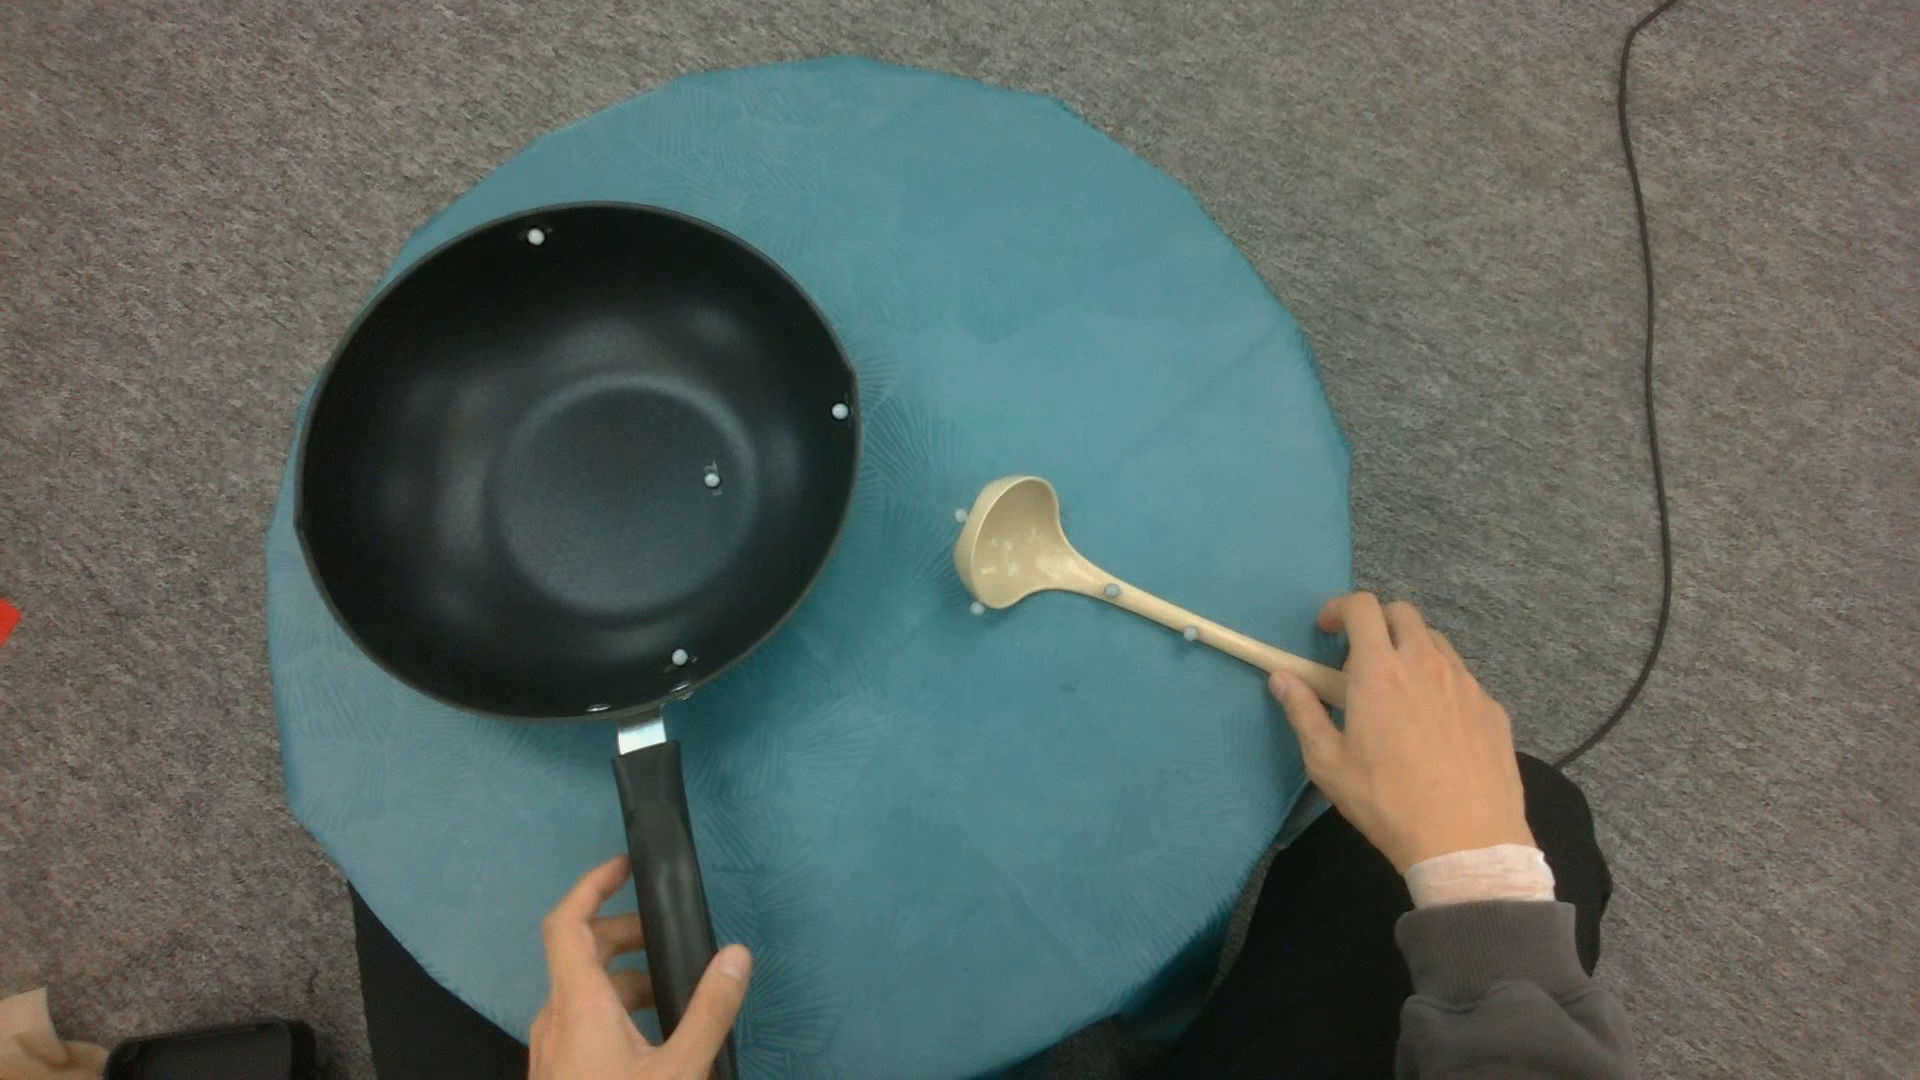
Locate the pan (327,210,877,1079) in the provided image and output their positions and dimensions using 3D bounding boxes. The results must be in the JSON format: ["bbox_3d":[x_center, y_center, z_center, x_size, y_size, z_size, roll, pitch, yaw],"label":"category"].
[{"bbox_3d":[-0.160,0.051,0.718,0.288,0.086,0.464,-15,74,-3],"label":"pan"}]

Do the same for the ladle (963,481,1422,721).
[{"bbox_3d":[0.124,0.040,0.717,0.254,0.073,0.072,21,84,9],"label":"ladle"}]
